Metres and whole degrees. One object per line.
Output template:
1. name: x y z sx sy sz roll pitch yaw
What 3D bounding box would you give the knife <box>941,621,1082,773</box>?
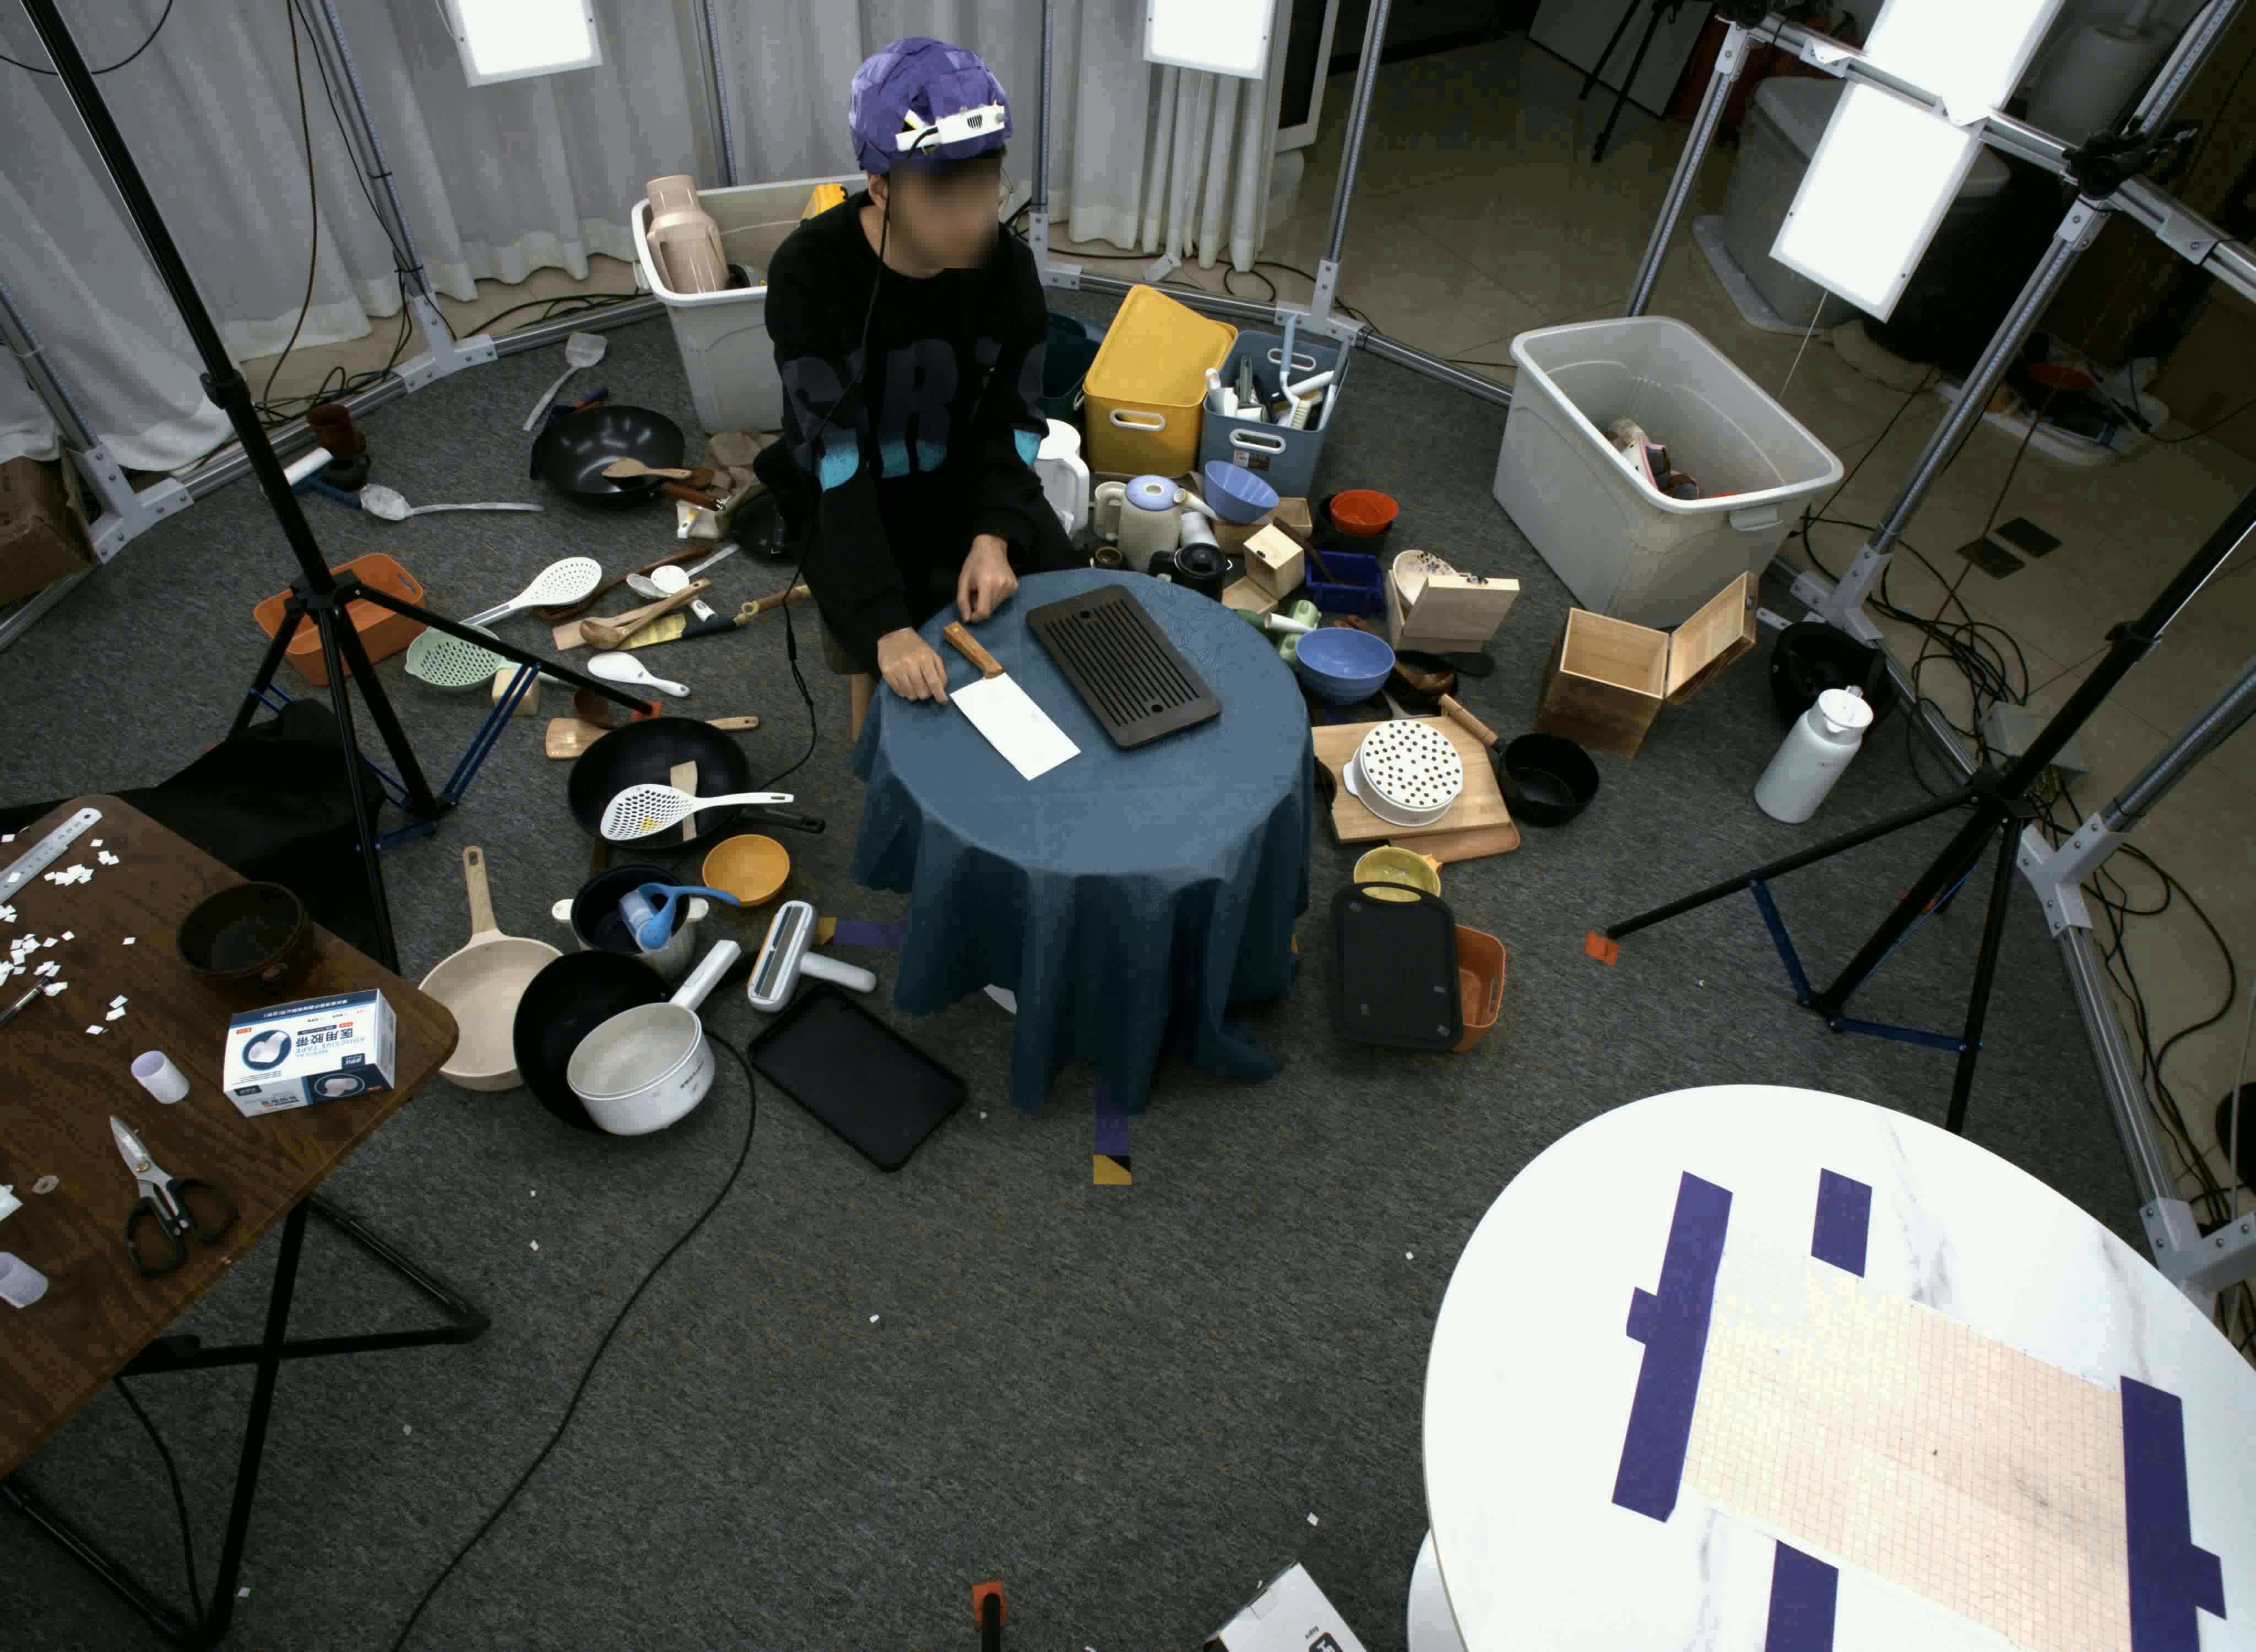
1. knife: -0.187 -0.181 1.803 0.093 0.020 0.311 -30 59 -24

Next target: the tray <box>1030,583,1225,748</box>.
1. tray: -0.004 -0.237 1.862 0.170 0.018 0.312 -20 53 -20
